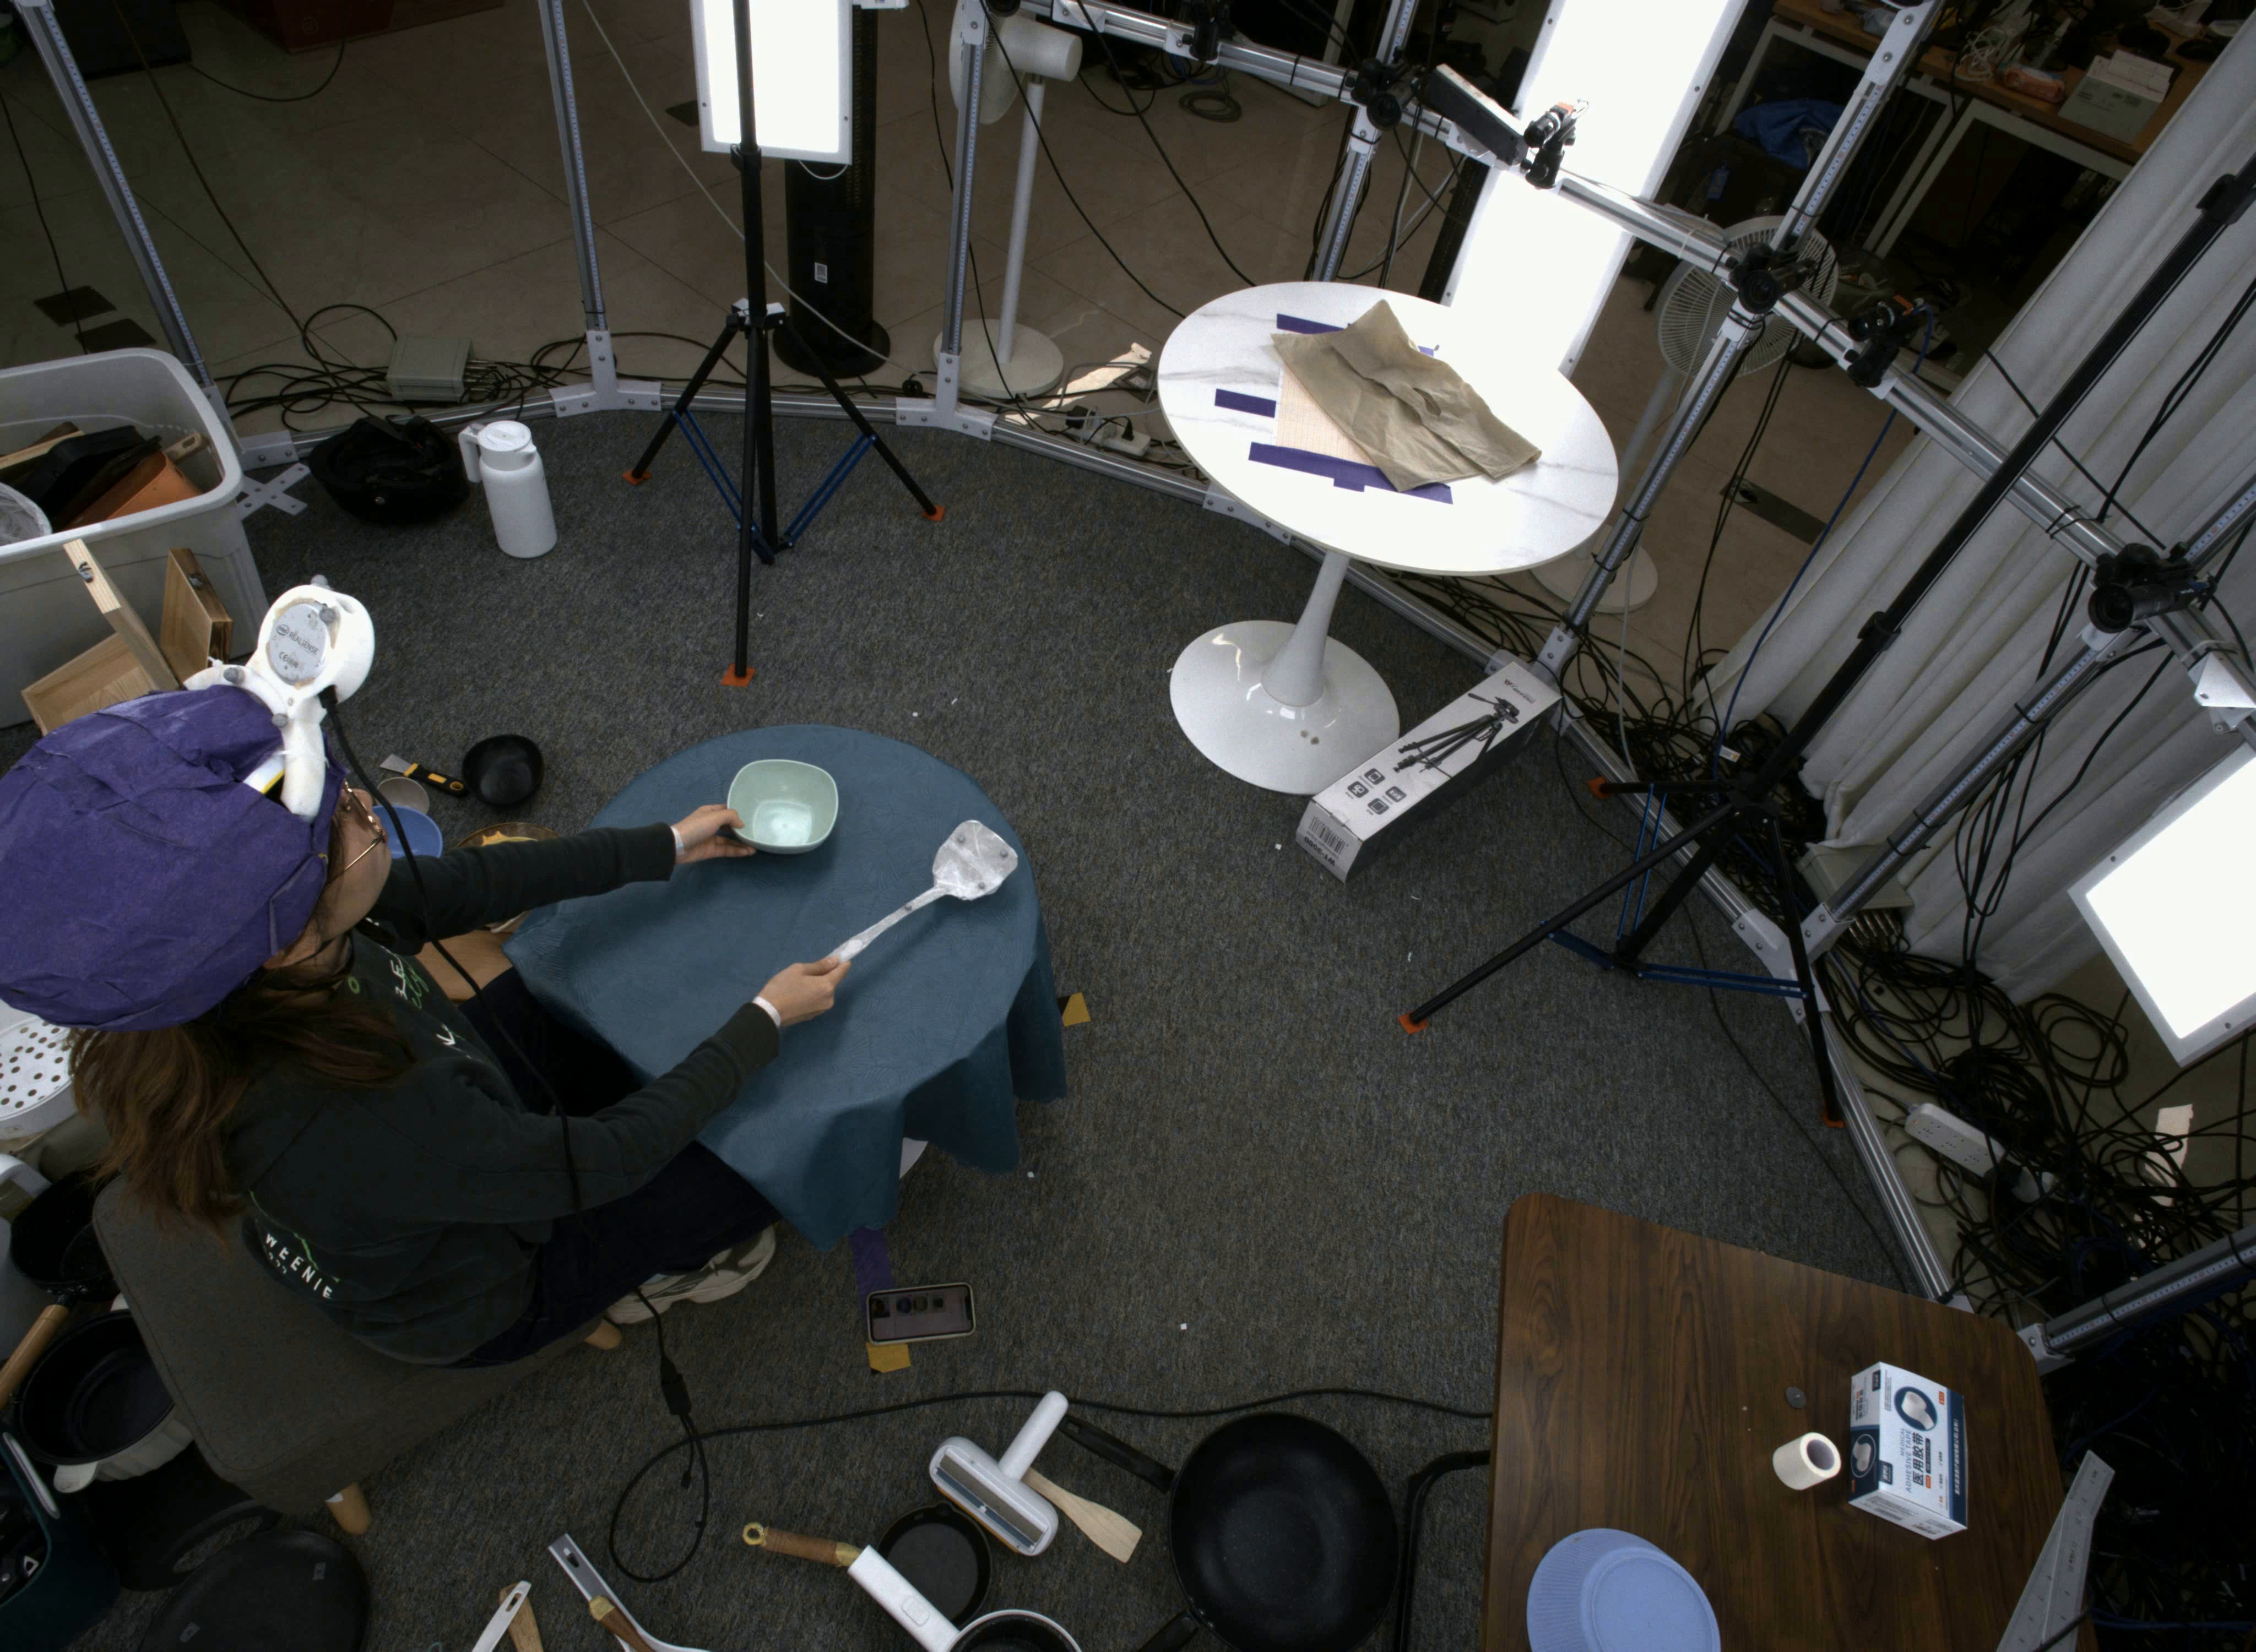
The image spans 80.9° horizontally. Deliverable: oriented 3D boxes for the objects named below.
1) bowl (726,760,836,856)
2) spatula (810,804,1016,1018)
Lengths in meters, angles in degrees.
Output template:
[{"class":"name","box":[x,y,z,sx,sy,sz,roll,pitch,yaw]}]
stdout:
[{"class":"bowl","box":[-0.453,-0.014,1.690,0.152,0.059,0.149,11,51,-12]},{"class":"spatula","box":[-0.272,0.104,1.622,0.096,0.046,0.364,24,50,22]}]
